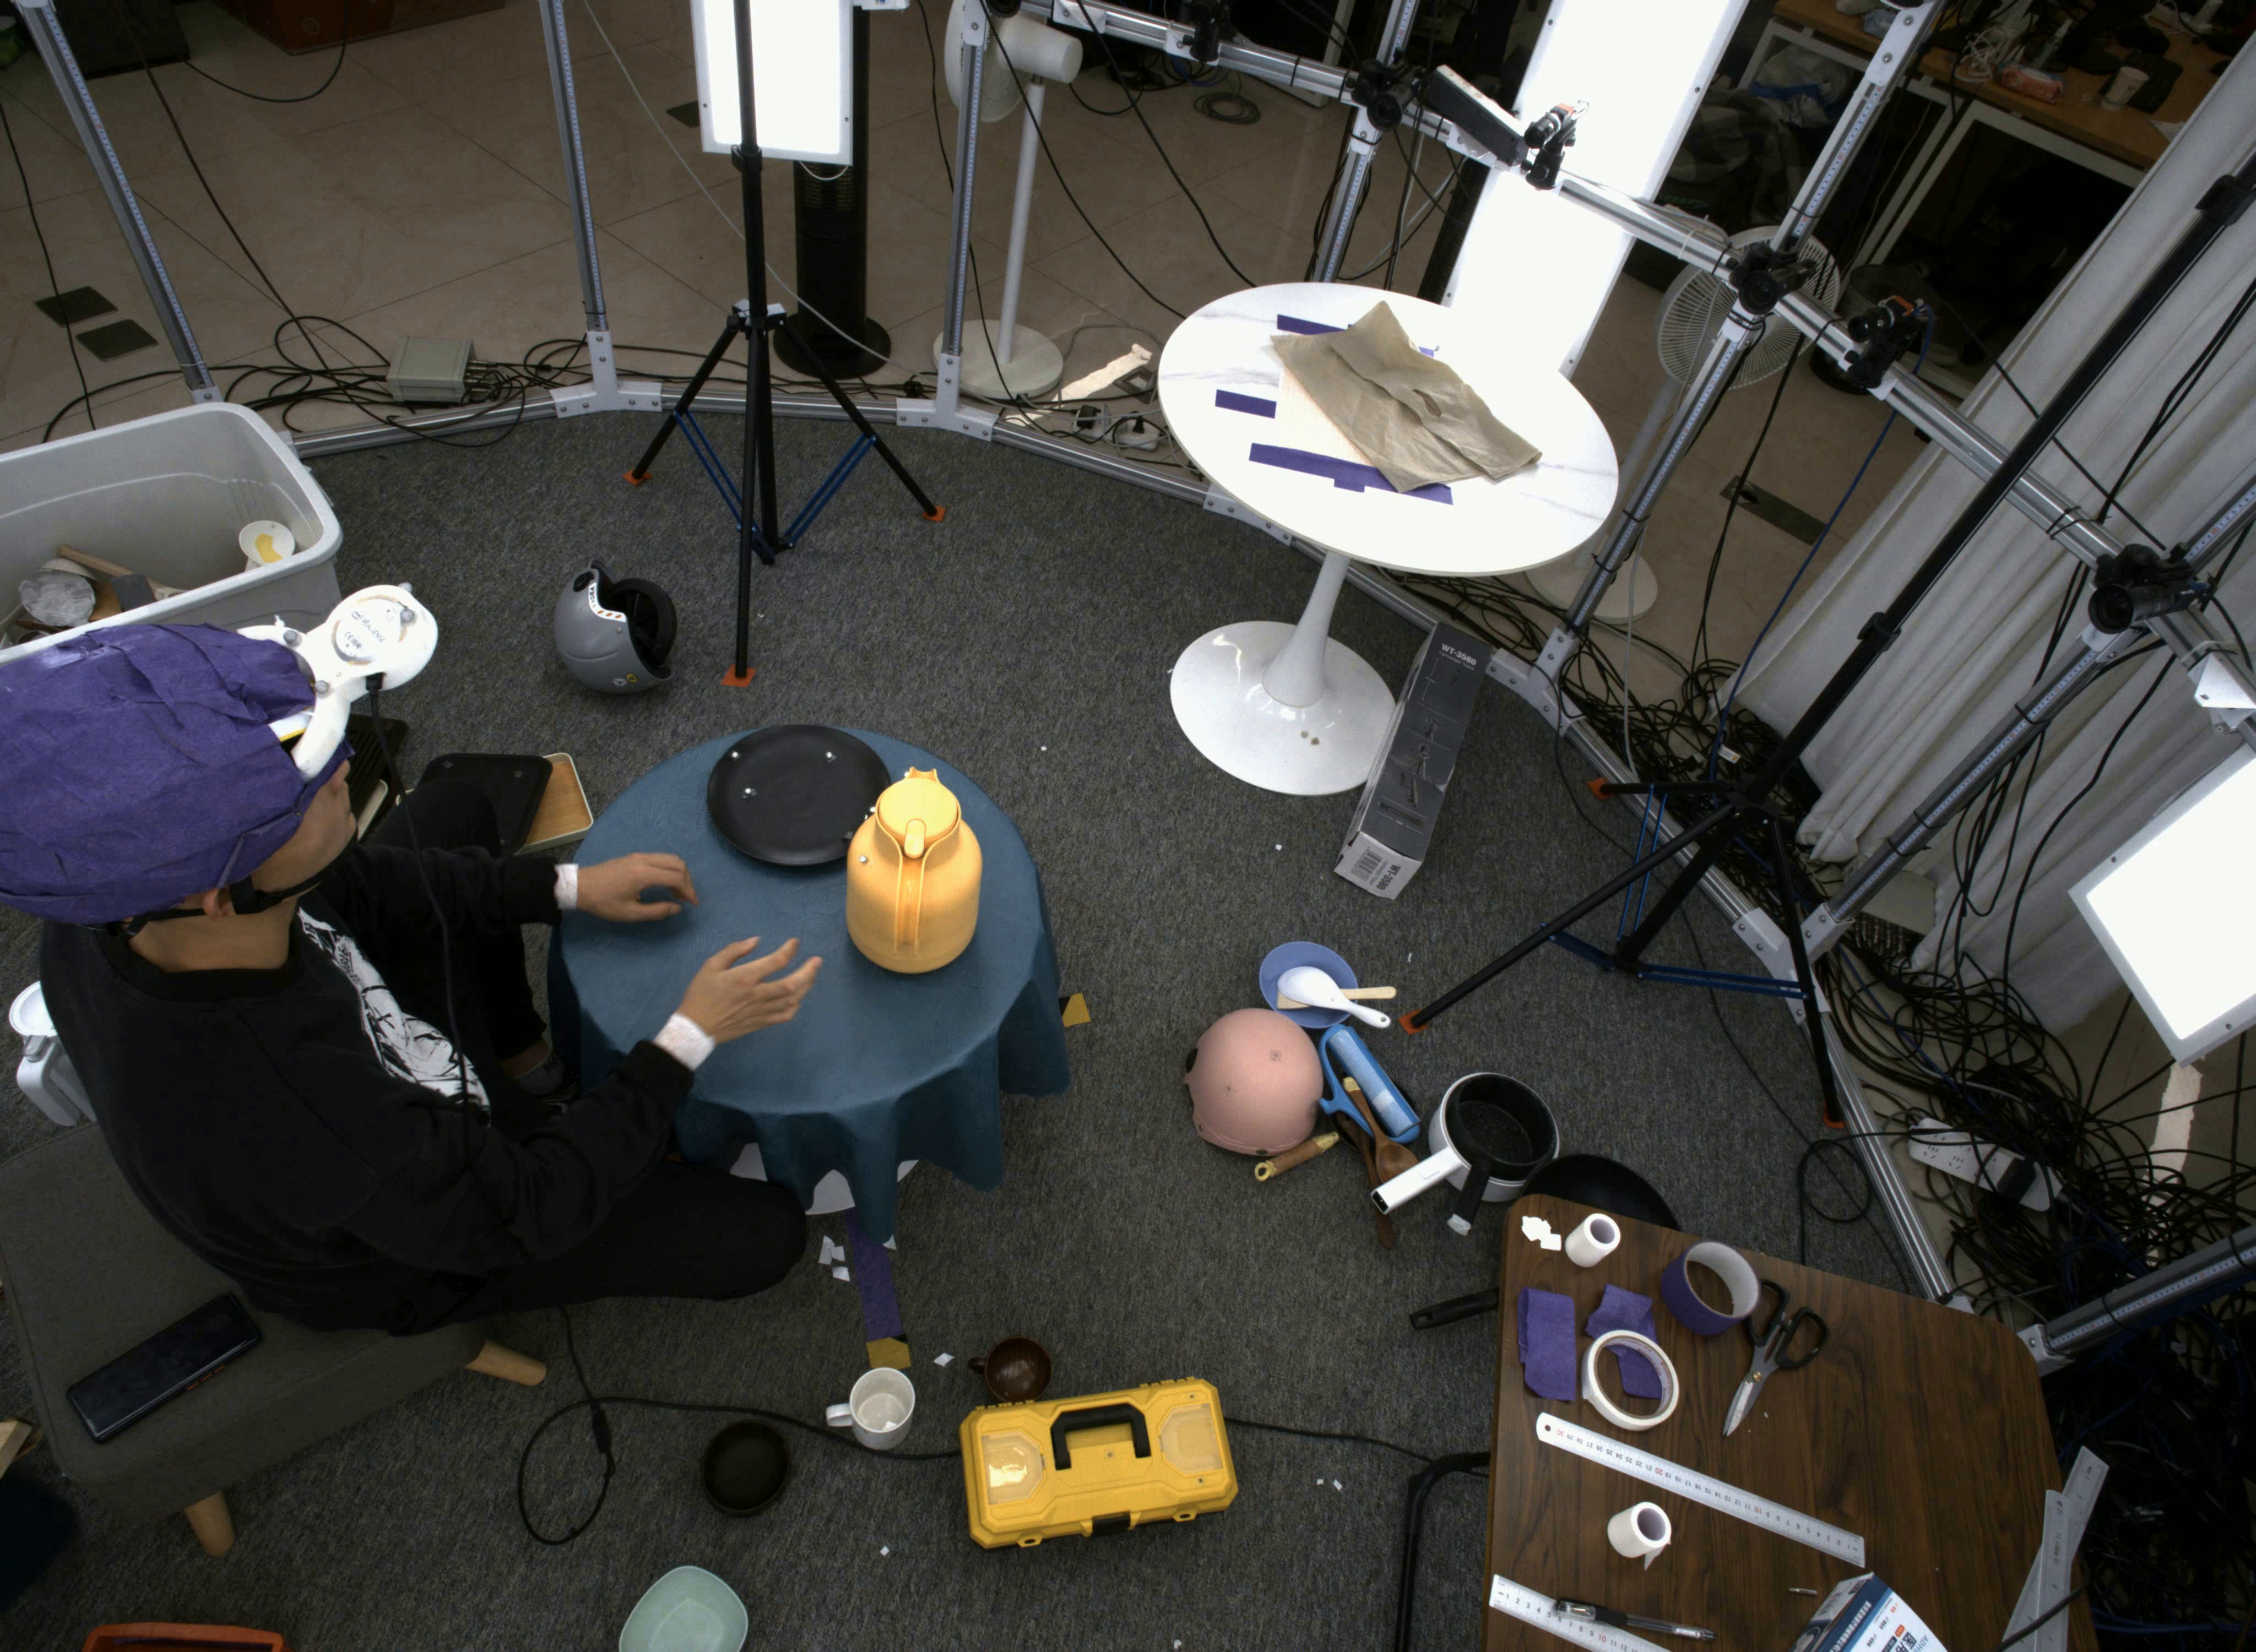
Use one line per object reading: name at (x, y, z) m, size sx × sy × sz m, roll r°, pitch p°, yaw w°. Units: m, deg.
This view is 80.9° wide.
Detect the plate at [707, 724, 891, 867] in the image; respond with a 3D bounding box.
plate at (-0.438, -0.041, 1.733) m, size 0.244 × 0.024 × 0.240 m, roll 8°, pitch 52°, yaw -9°

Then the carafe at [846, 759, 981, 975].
carafe at (-0.258, 0.063, 1.546) m, size 0.162 × 0.267 × 0.198 m, roll 5°, pitch 50°, yaw -4°
